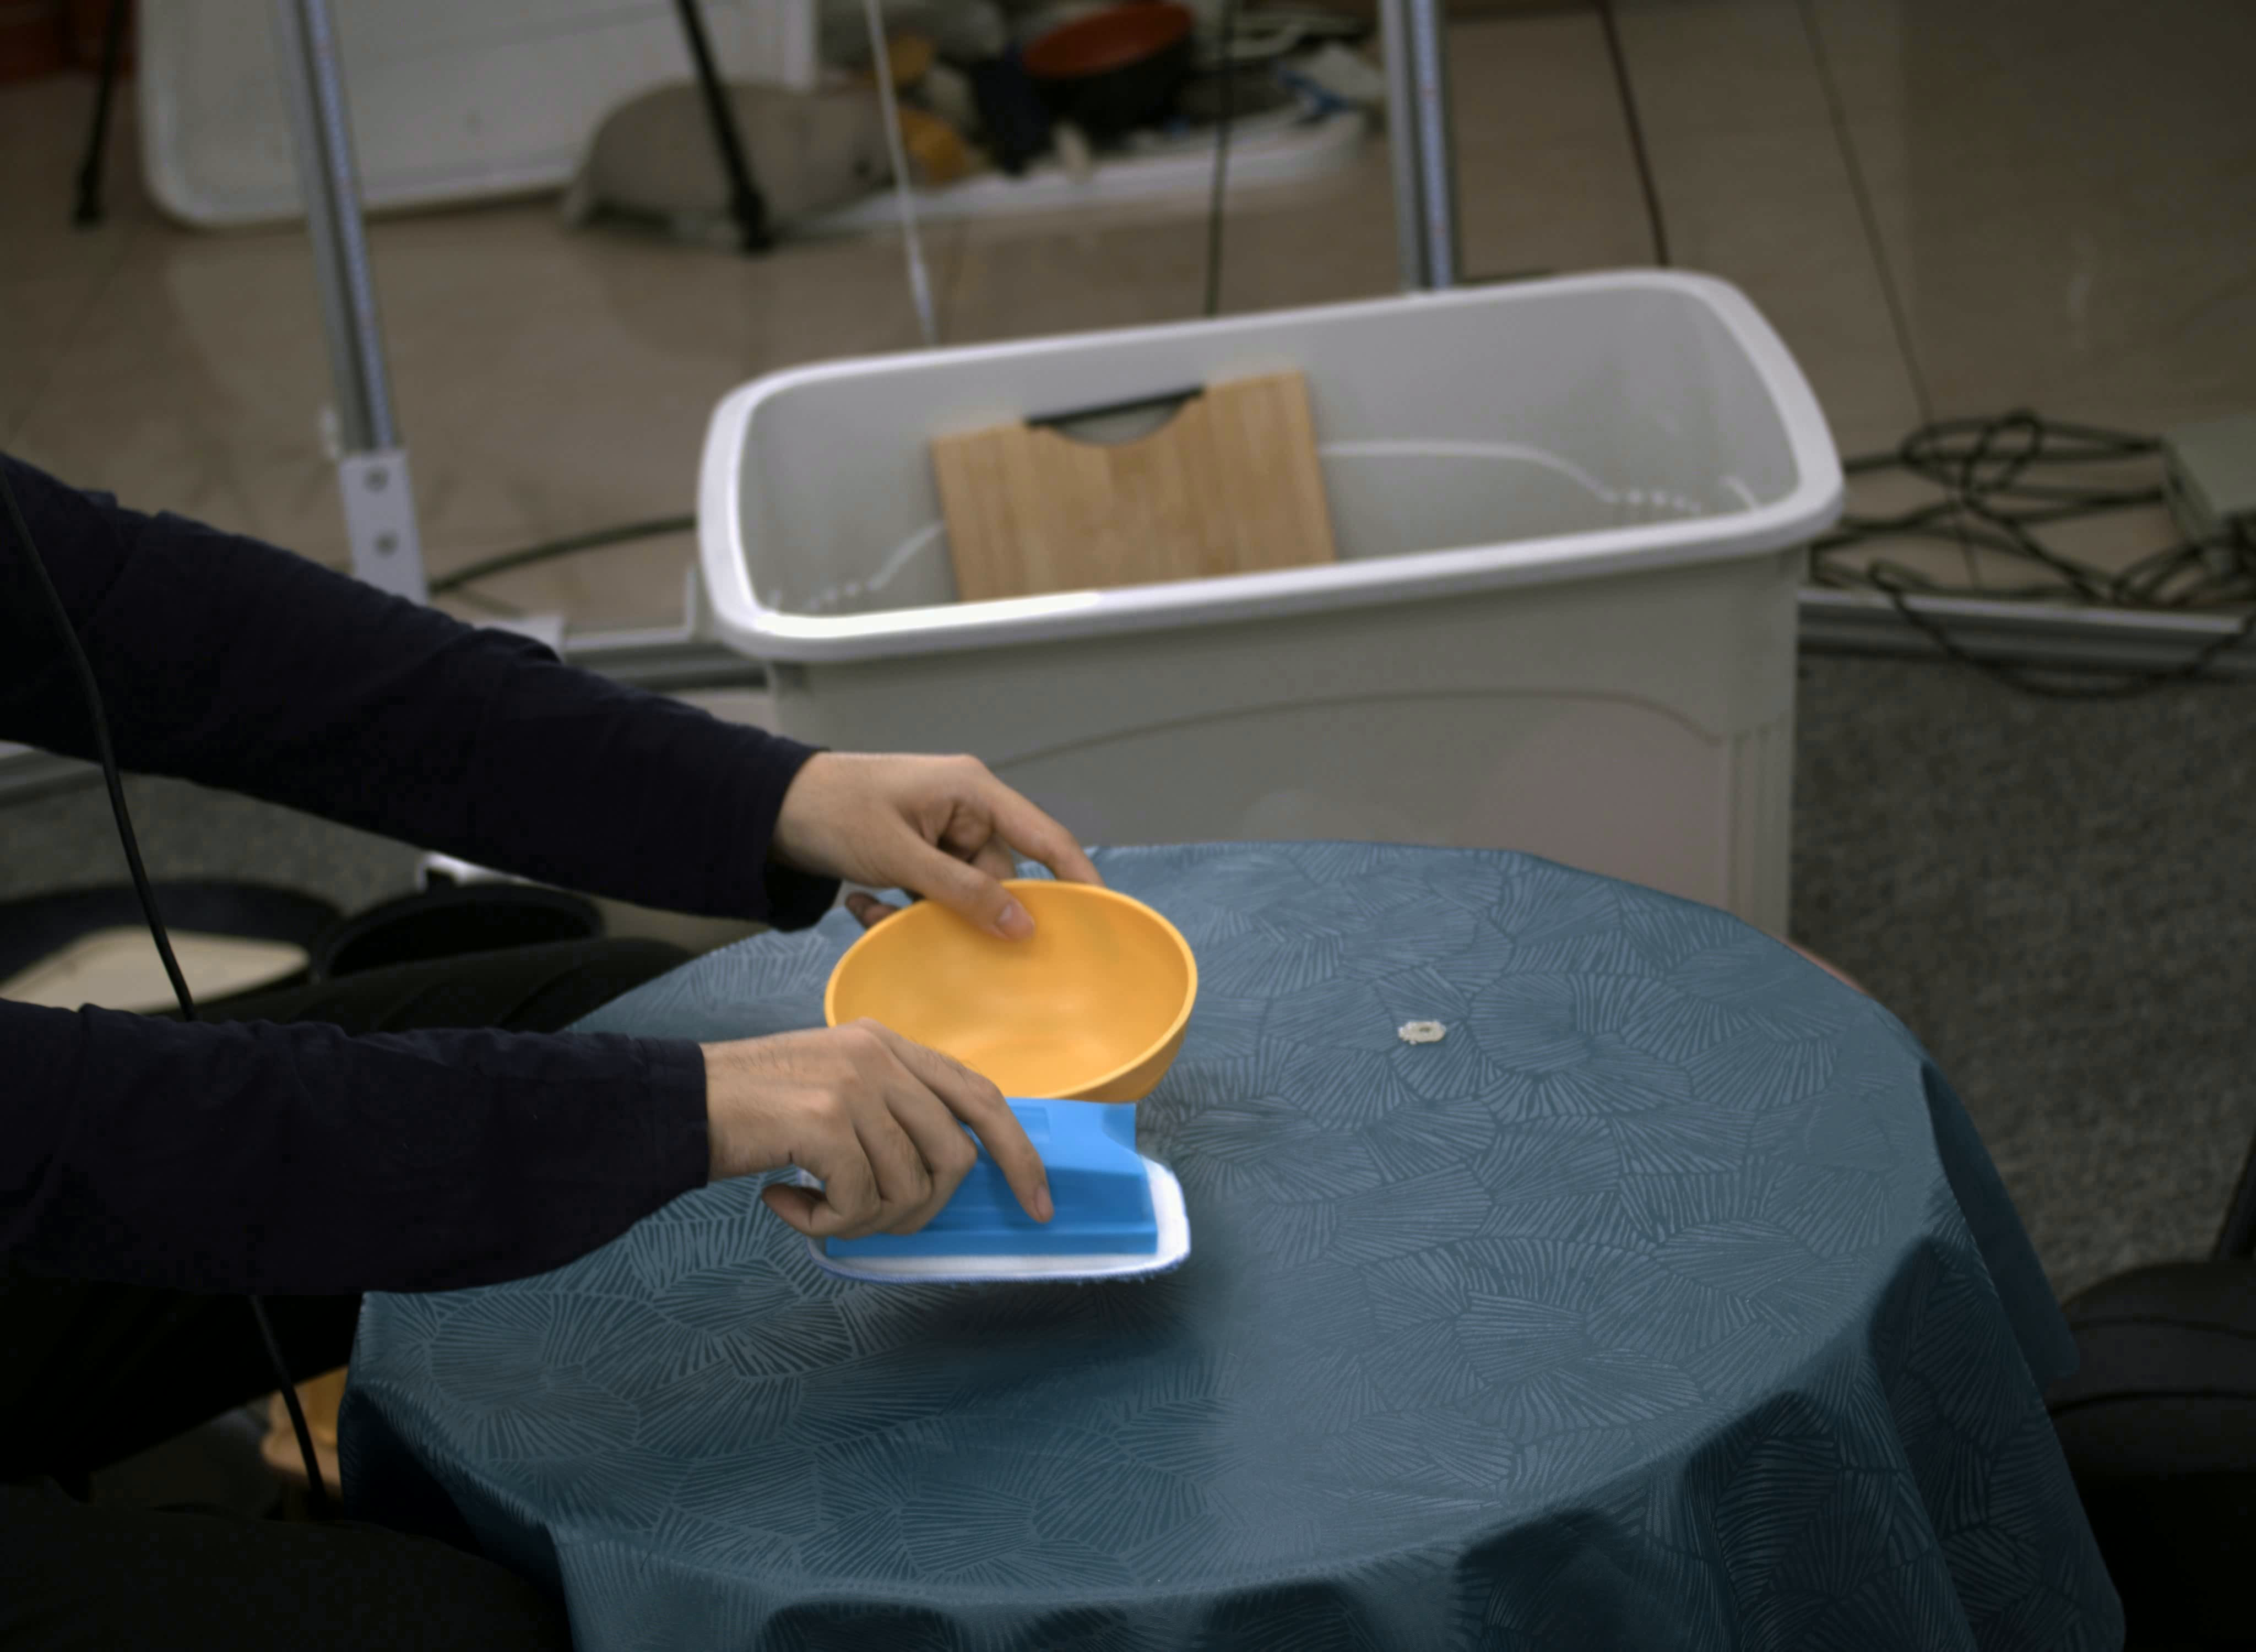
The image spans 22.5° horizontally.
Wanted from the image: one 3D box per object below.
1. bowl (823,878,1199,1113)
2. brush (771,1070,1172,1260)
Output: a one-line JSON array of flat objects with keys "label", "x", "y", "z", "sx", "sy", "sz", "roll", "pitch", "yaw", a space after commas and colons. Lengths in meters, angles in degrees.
[{"label": "bowl", "x": -0.044, "y": 0.085, "z": 2.191, "sx": 0.145, "sy": 0.061, "sz": 0.143, "roll": -2, "pitch": 36, "yaw": 1}, {"label": "brush", "x": -0.055, "y": 0.120, "z": 2.039, "sx": 0.144, "sy": 0.057, "sz": 0.082, "roll": 3, "pitch": 27, "yaw": -7}]
